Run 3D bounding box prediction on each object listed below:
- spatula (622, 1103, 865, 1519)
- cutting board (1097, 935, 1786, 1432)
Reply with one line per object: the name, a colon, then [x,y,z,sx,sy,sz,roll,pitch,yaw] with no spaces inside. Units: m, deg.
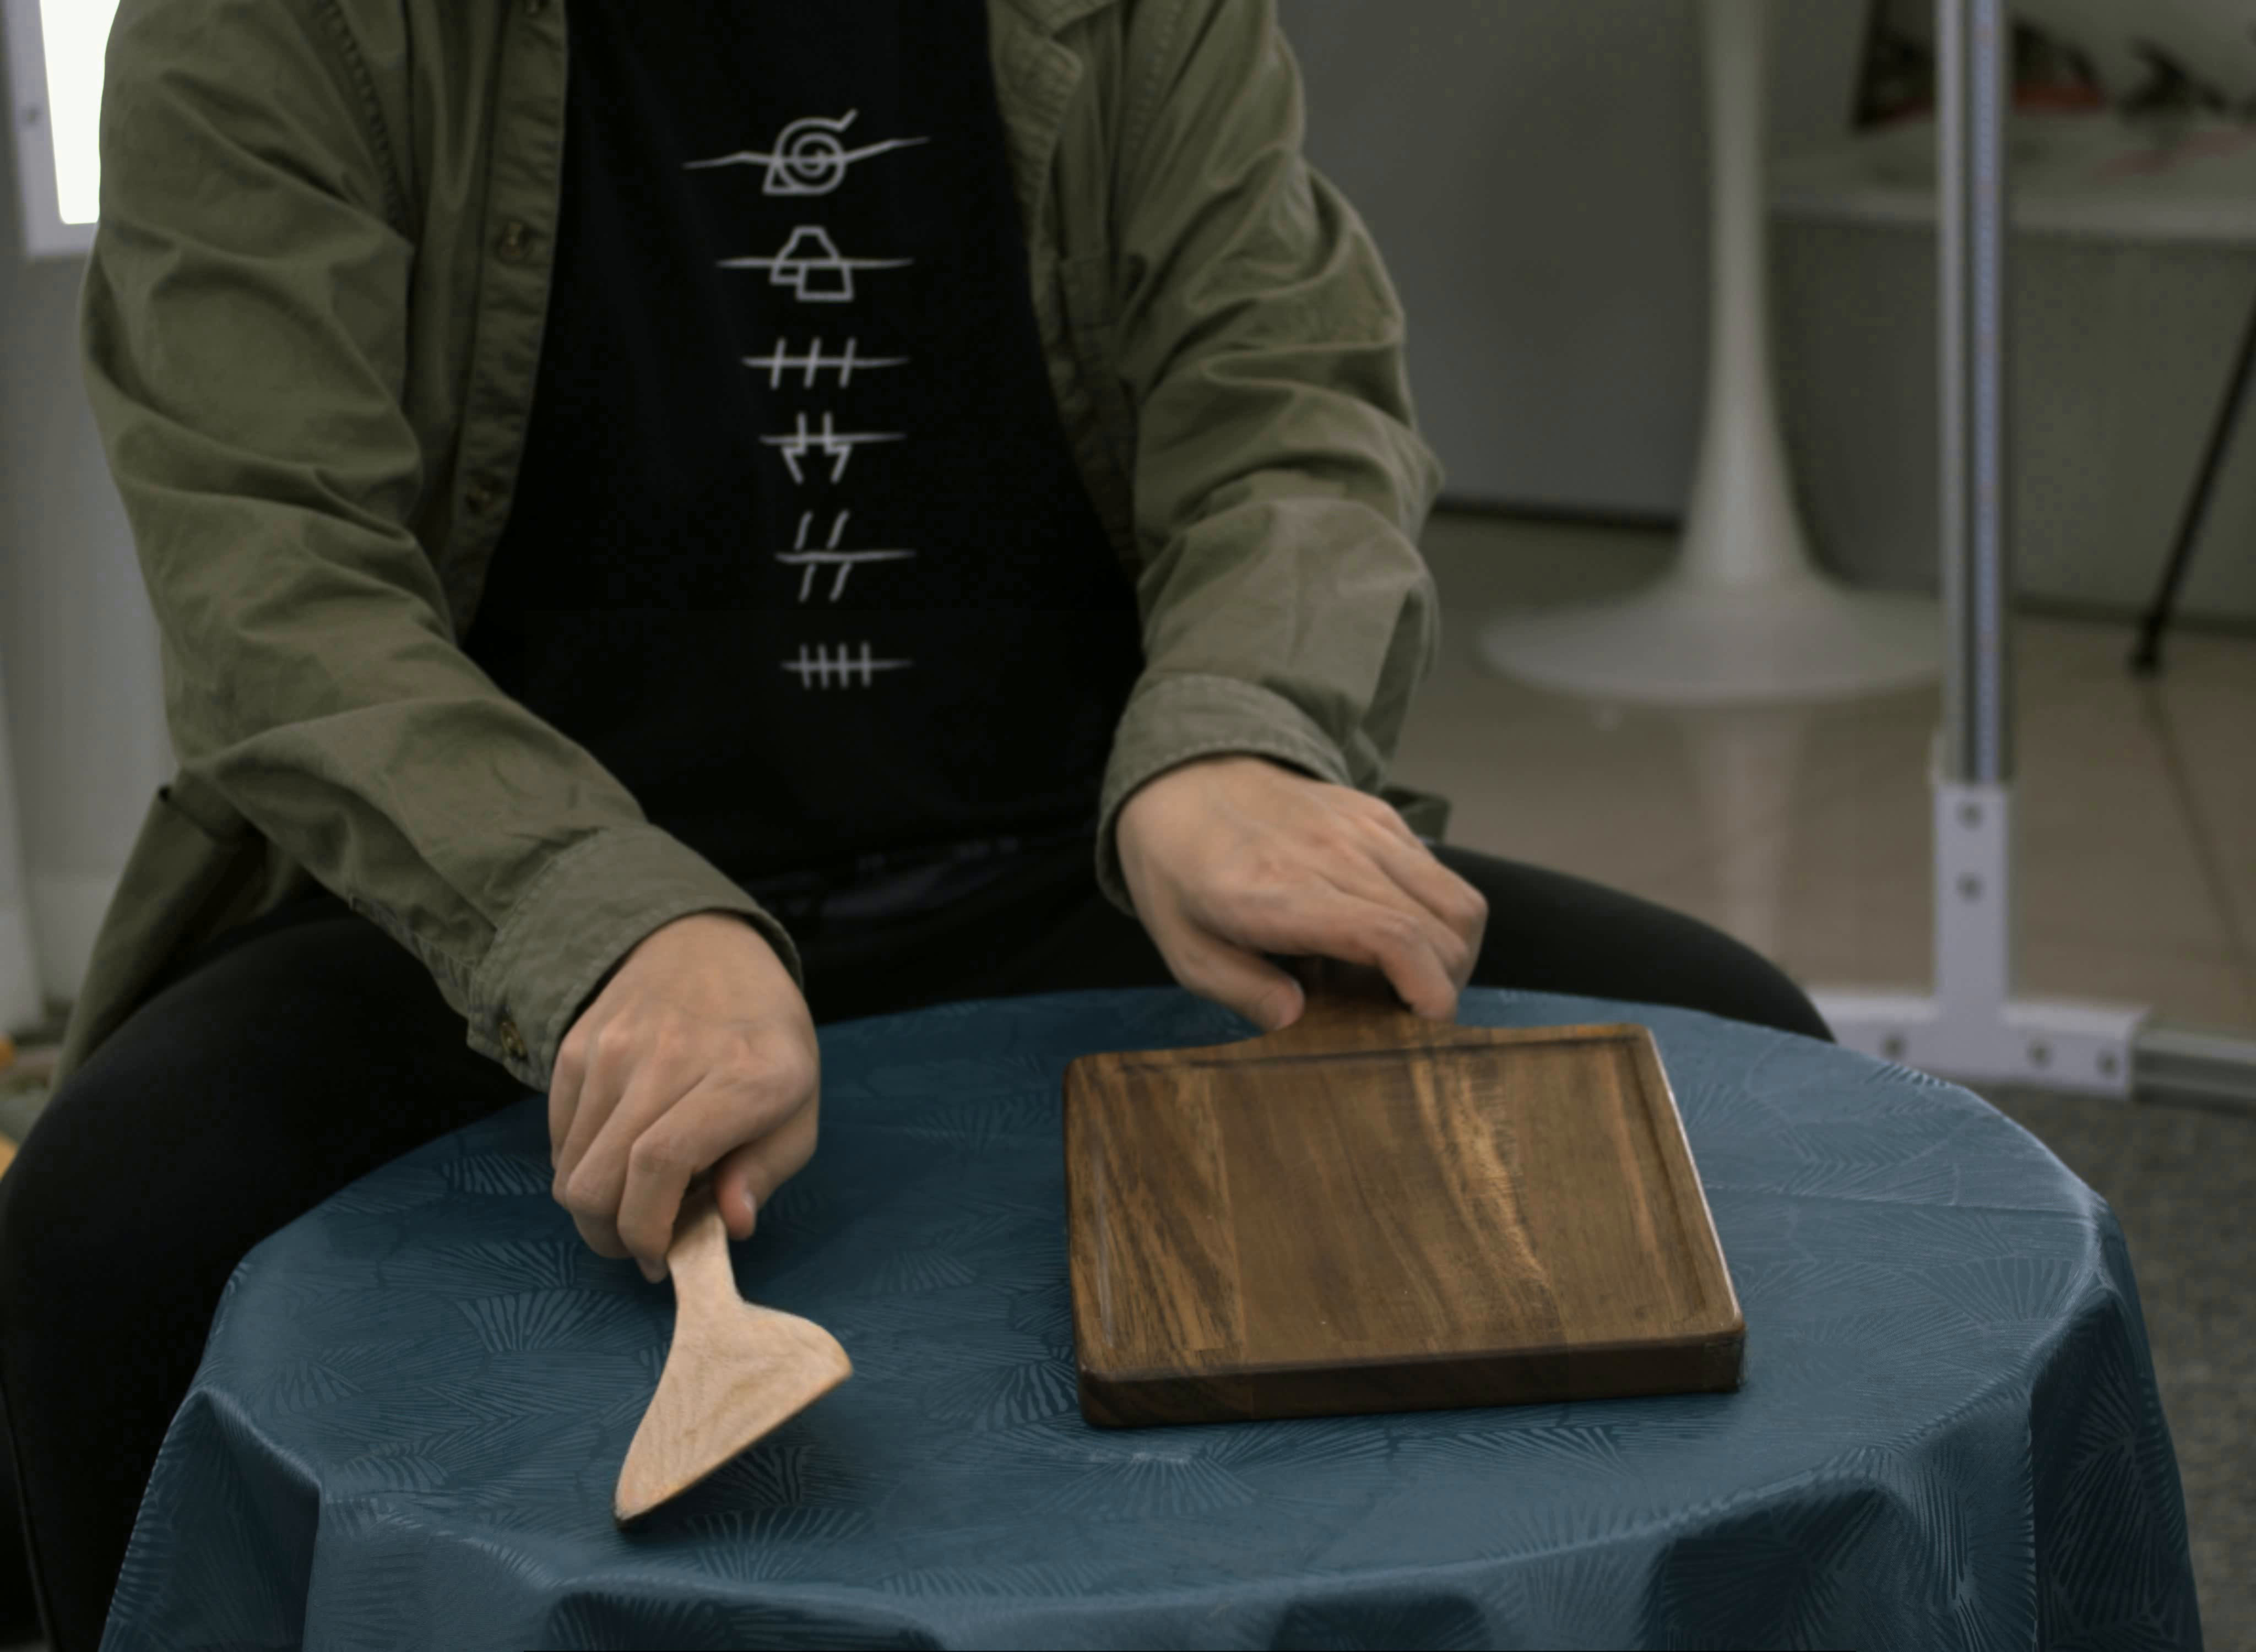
spatula: [-0.128,0.135,1.644,0.079,0.016,0.329,-32,17,0]
cutting board: [0.090,0.104,1.707,0.198,0.023,0.353,-4,19,1]
